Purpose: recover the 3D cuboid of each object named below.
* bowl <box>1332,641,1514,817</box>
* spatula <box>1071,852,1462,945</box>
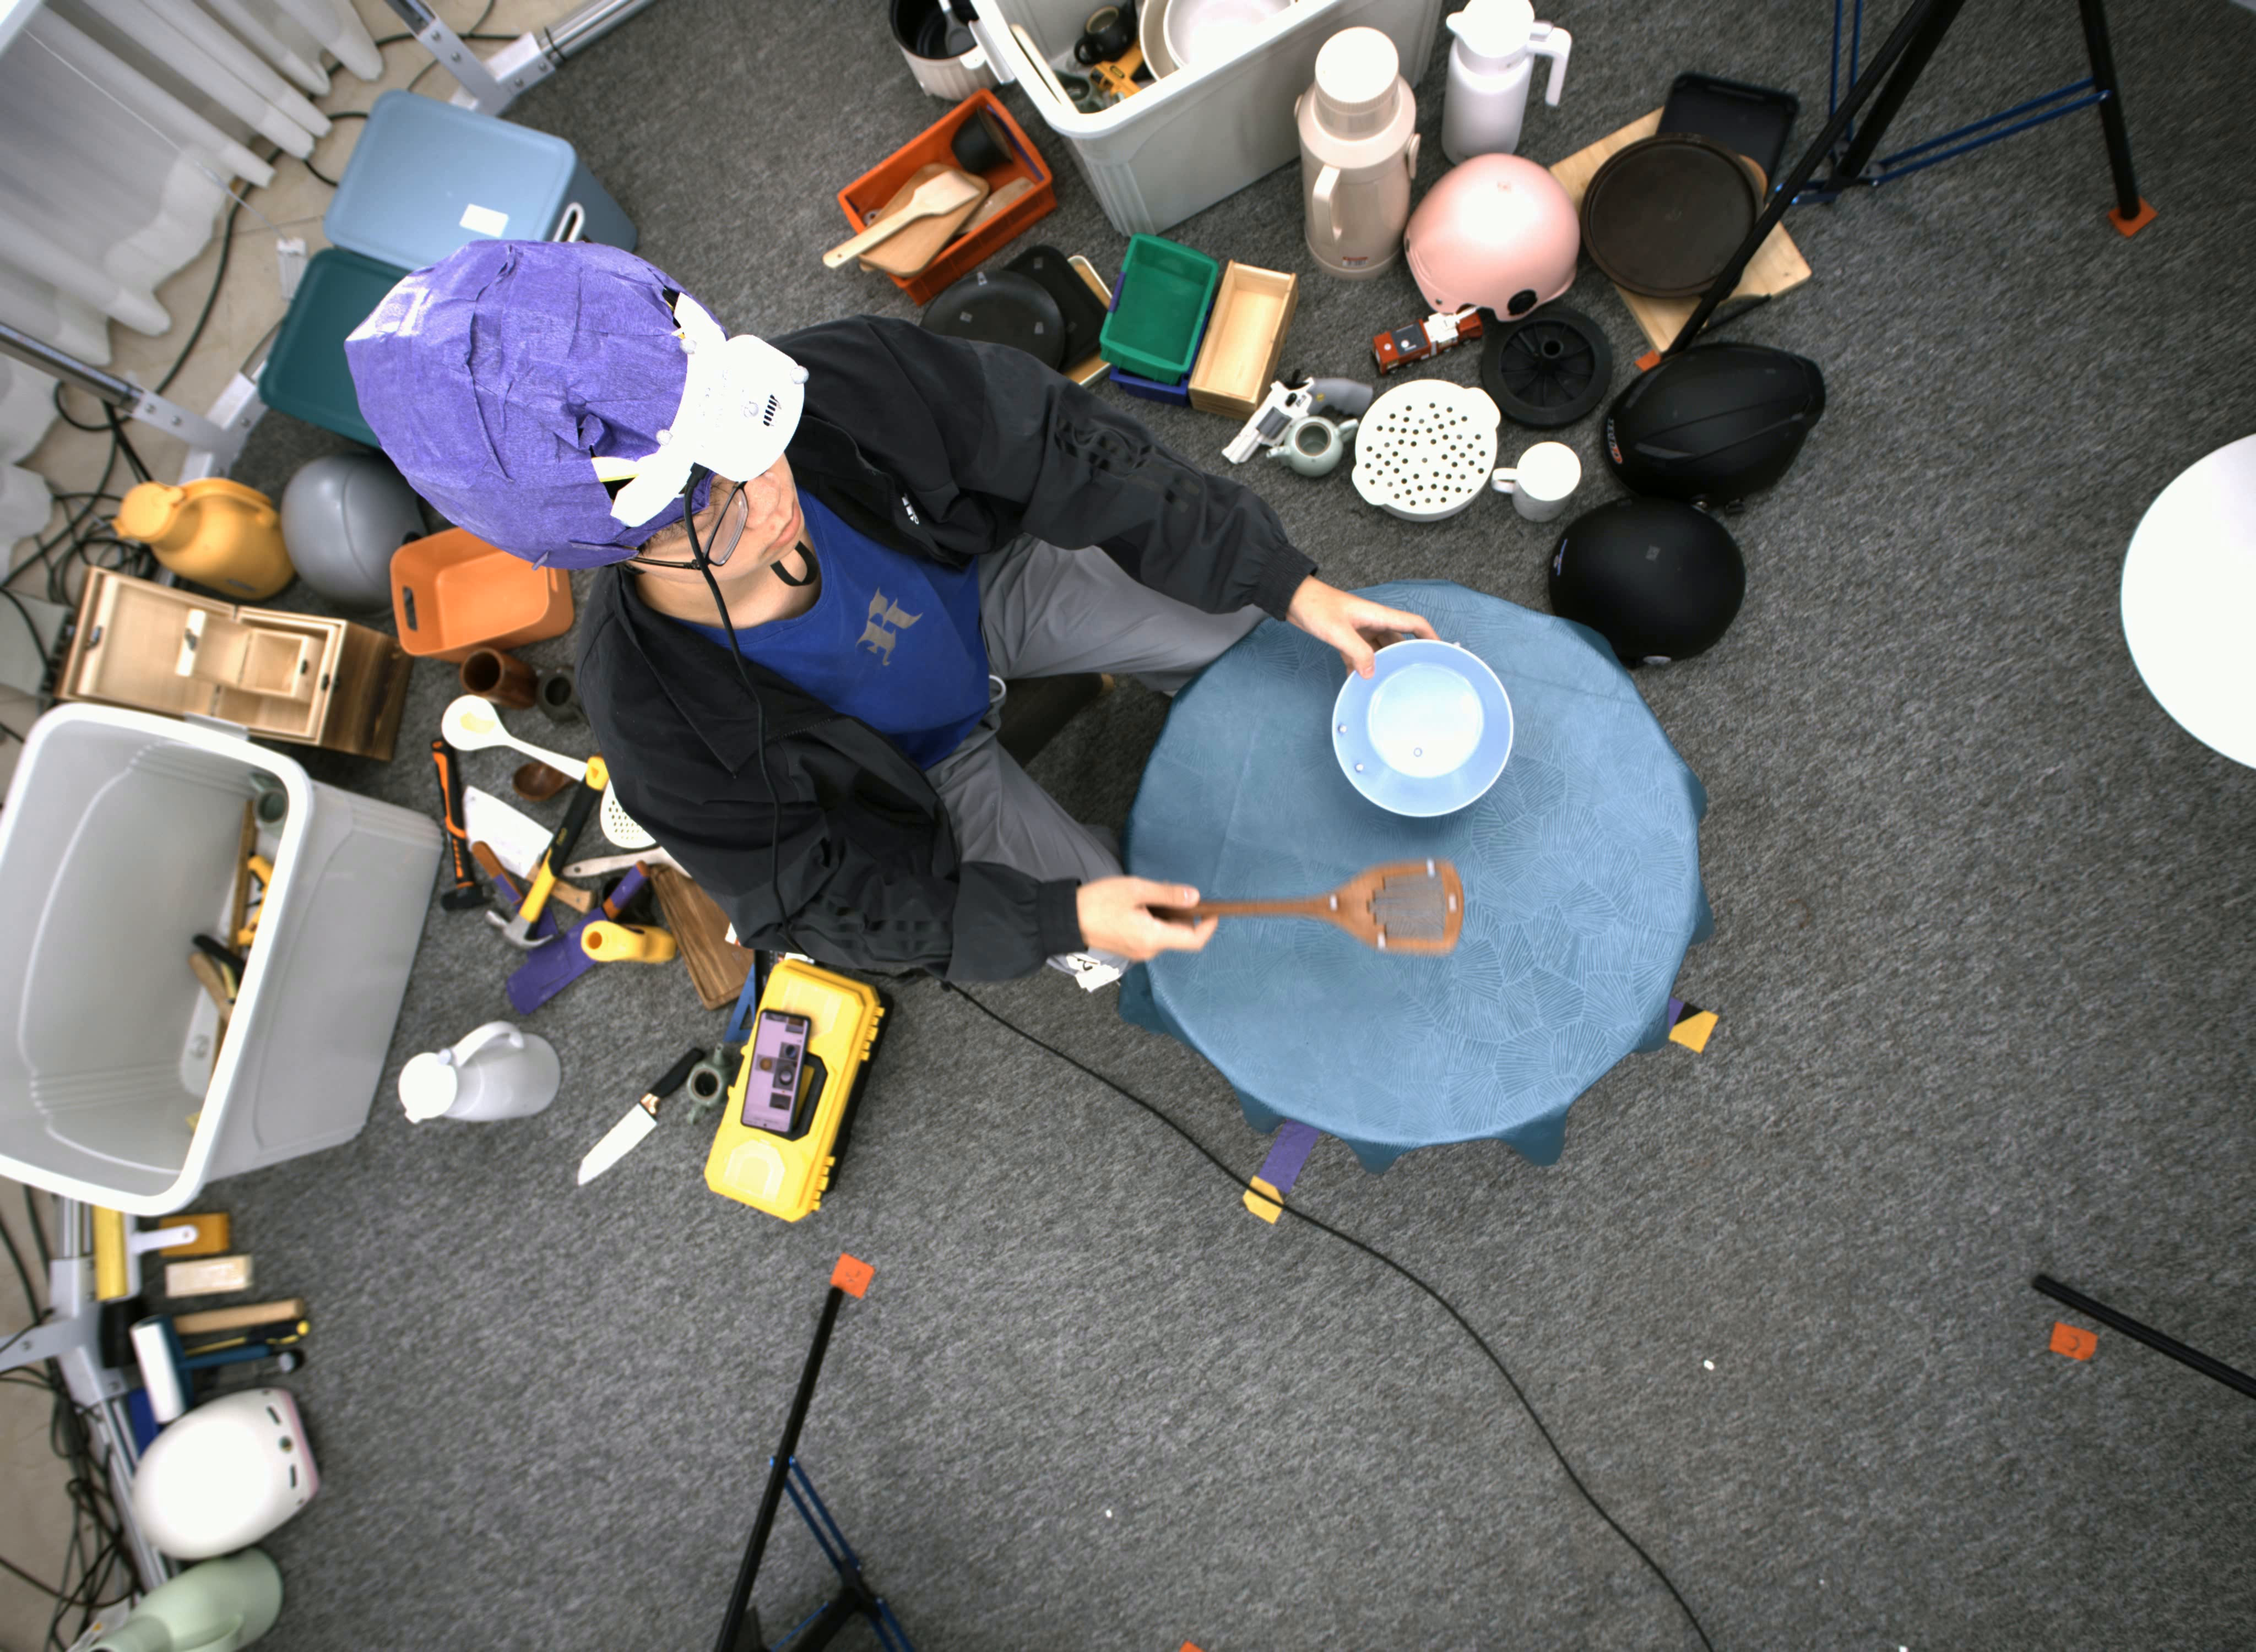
[{"bbox_3d":[0.297,-0.102,1.375,0.177,0.069,0.178,4,107,16],"label":"bowl"},{"bbox_3d":[0.124,0.070,1.322,0.389,0.024,0.085,-2,89,22],"label":"spatula"}]
